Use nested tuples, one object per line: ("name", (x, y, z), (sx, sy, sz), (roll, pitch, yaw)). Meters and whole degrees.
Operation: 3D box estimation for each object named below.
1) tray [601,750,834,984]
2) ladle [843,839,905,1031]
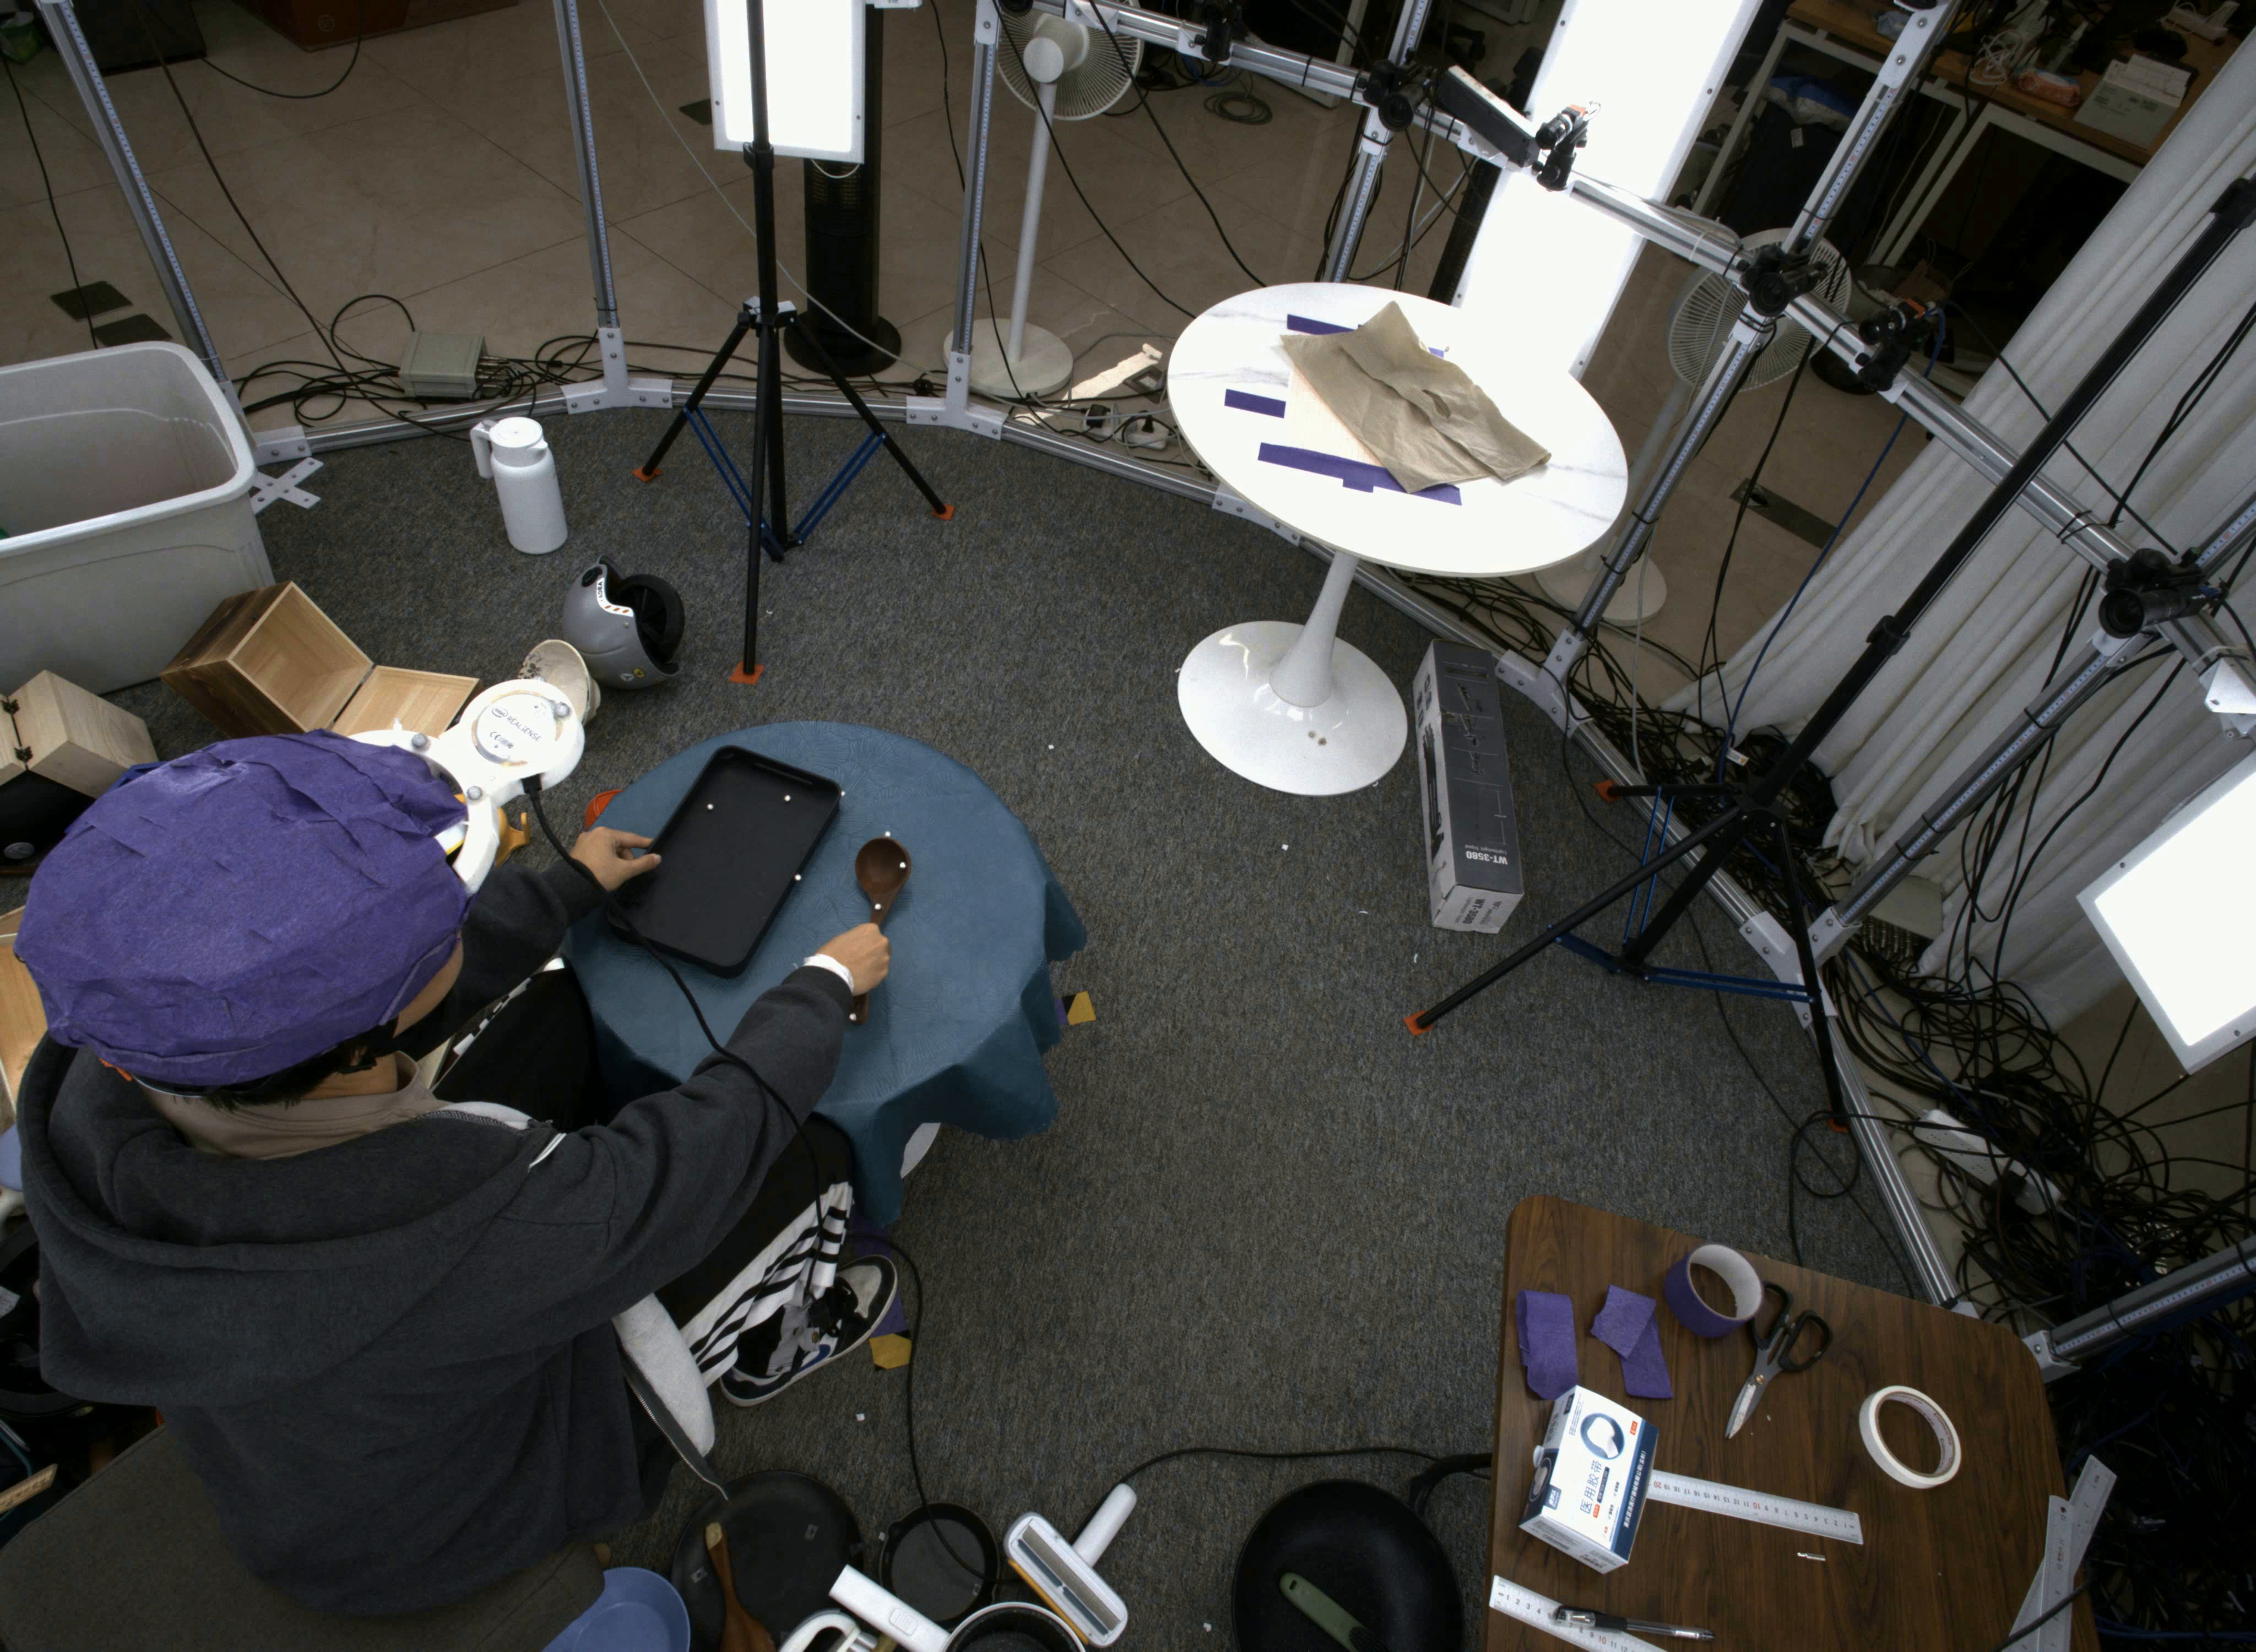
("tray", (-0.517, 0.044, 1.645), (0.182, 0.038, 0.314), (20, 50, 0))
("ladle", (-0.328, 0.127, 1.610), (0.075, 0.067, 0.255), (-8, 48, 14))
